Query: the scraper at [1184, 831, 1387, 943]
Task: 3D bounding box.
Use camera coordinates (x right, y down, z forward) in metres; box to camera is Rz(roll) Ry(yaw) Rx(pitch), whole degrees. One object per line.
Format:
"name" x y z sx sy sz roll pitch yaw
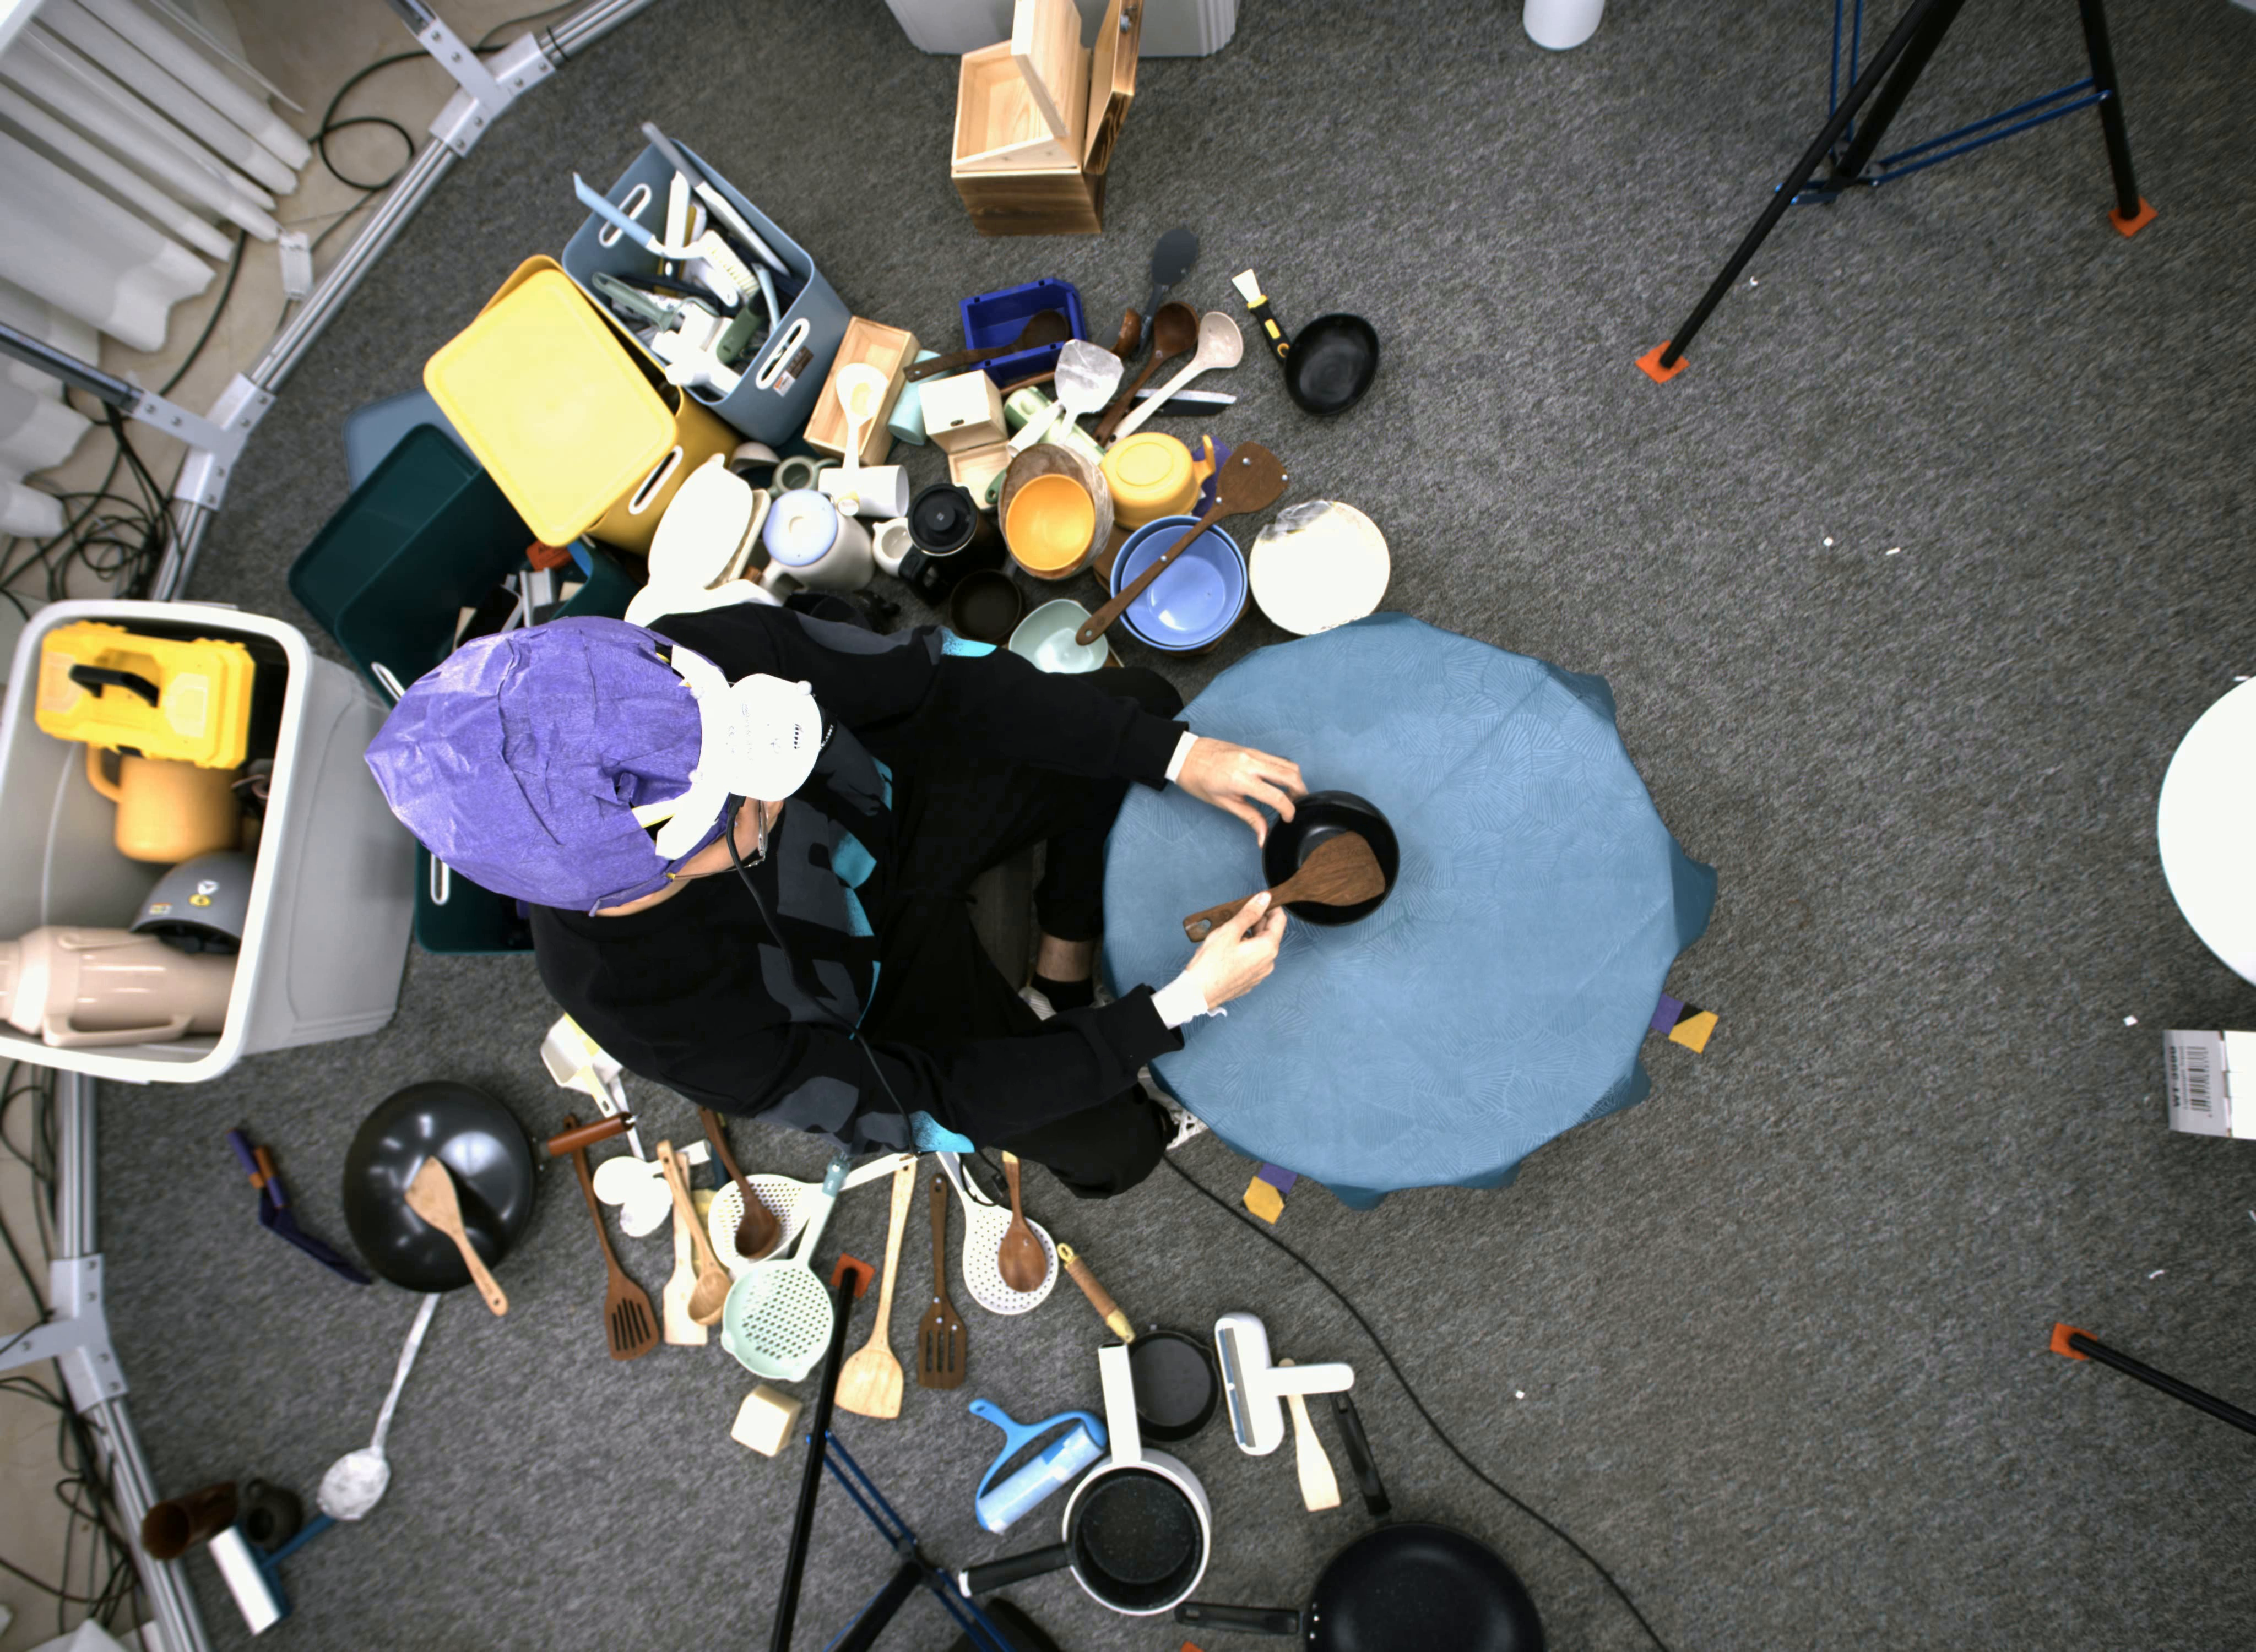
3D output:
"scraper" 0.156 0.070 1.395 0.210 0.011 0.075 -20 76 -8

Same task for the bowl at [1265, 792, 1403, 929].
"bowl" 0.210 0.035 1.414 0.140 0.050 0.140 0 89 8
